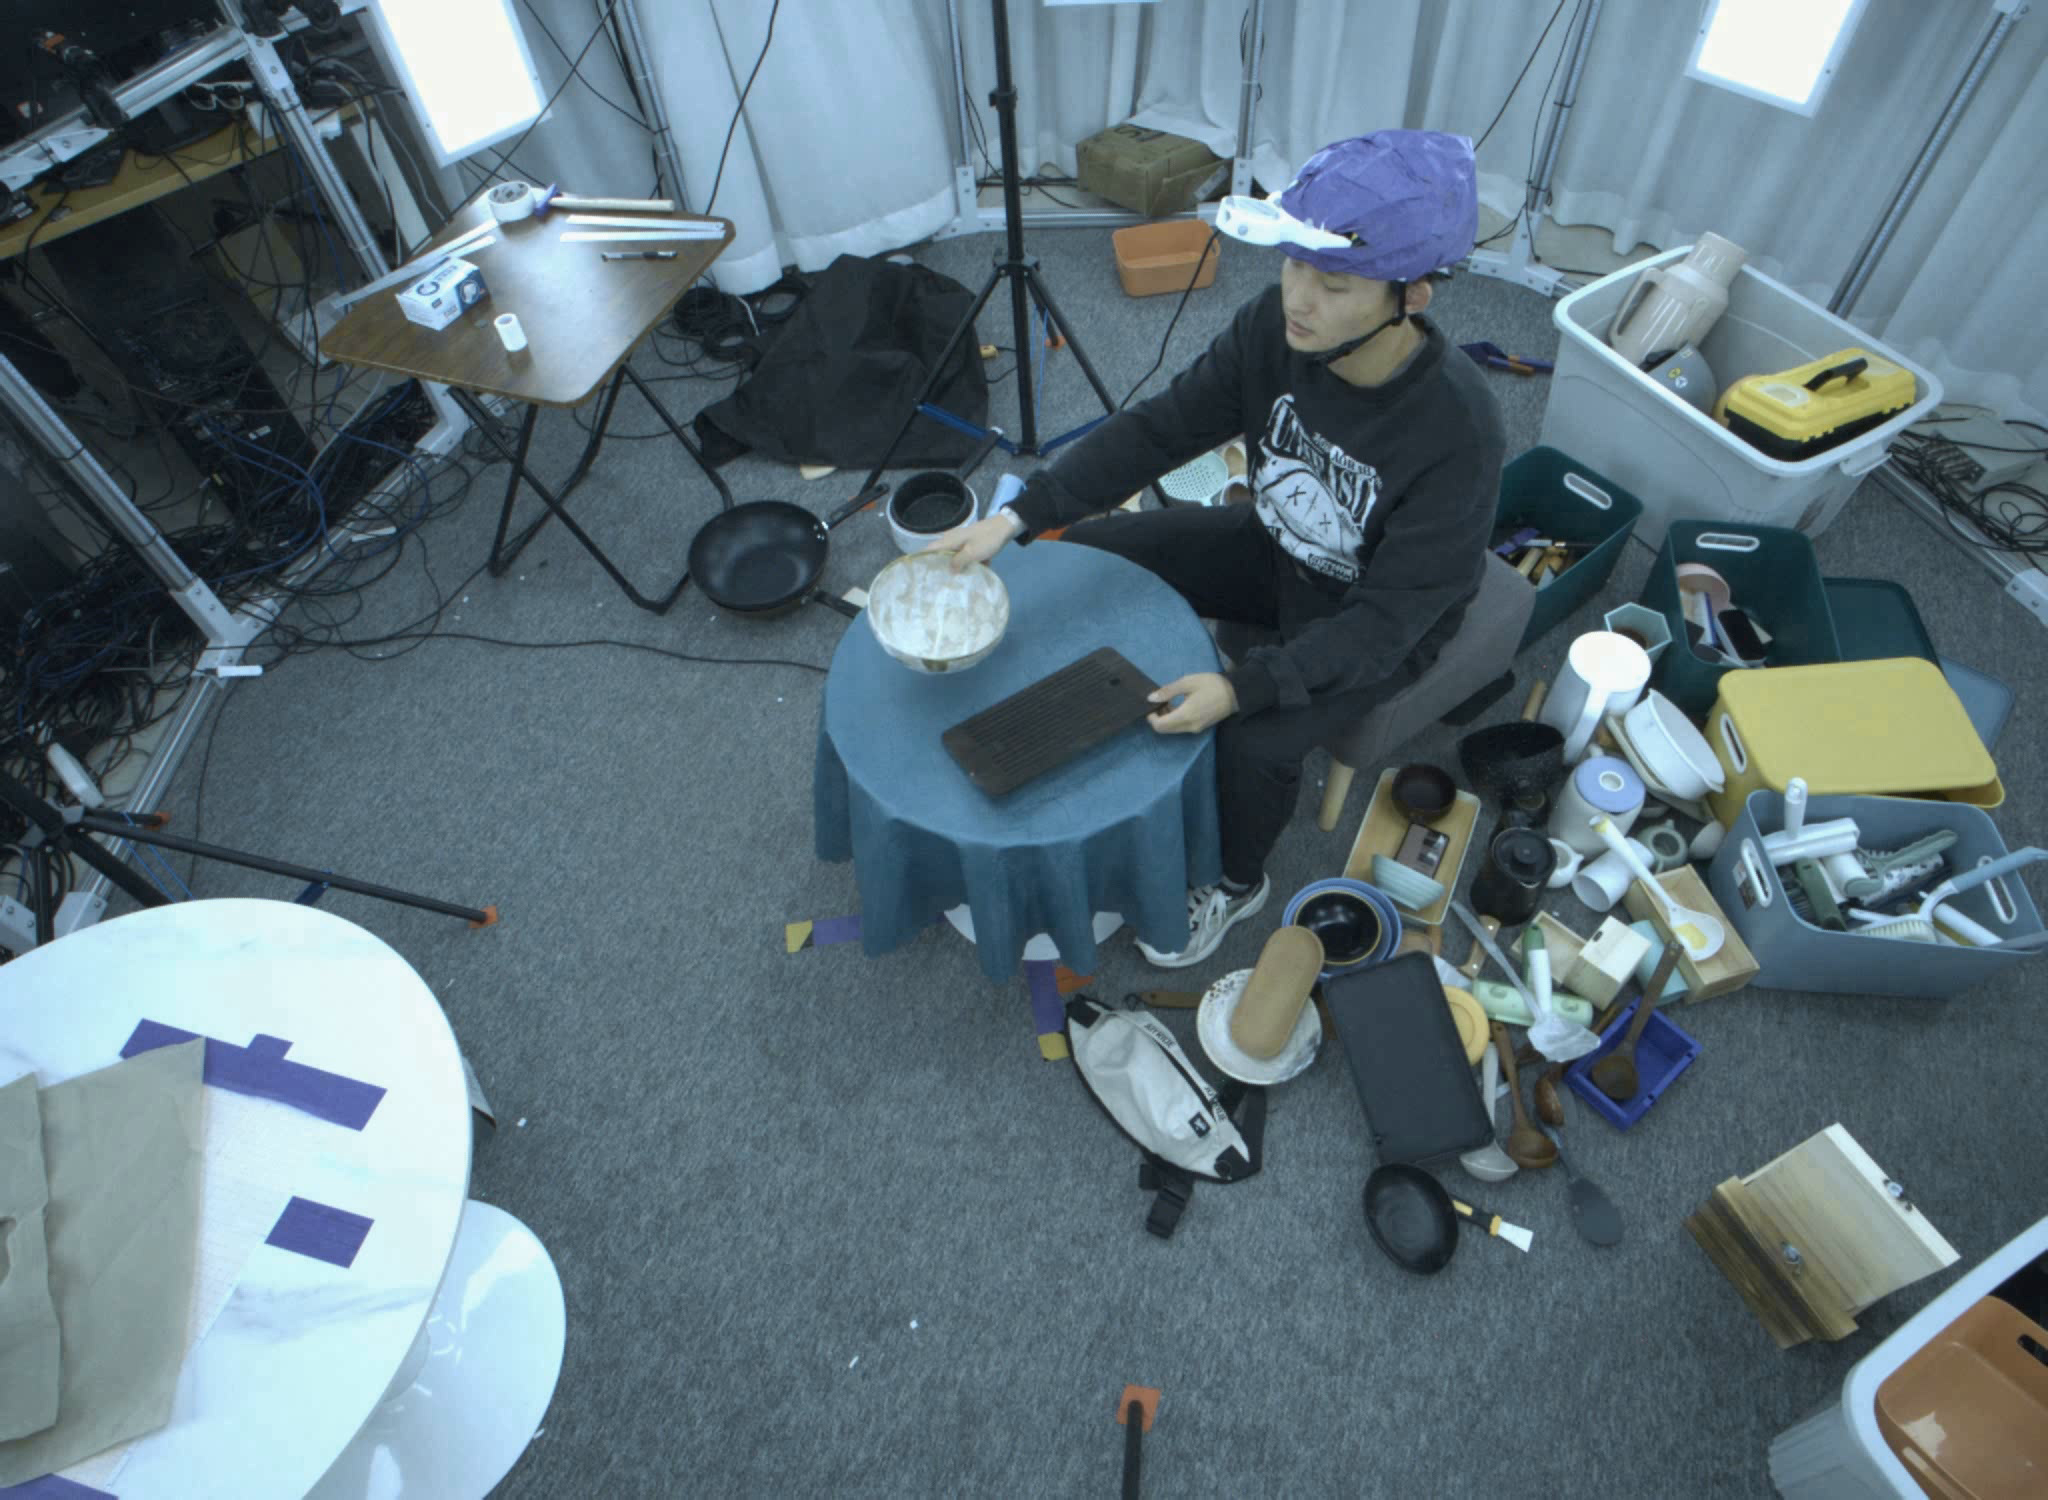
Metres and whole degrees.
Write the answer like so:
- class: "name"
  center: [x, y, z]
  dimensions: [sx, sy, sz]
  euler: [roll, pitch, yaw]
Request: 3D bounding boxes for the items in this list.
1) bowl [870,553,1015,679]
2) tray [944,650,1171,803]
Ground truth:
- class: "bowl"
  center: [-0.118, -0.178, 1.778]
  dimensions: [0.216, 0.095, 0.212]
  euler: [4, 58, -6]
- class: "tray"
  center: [0.048, -0.037, 1.790]
  dimensions: [0.308, 0.019, 0.166]
  euler: [-29, 46, -17]
